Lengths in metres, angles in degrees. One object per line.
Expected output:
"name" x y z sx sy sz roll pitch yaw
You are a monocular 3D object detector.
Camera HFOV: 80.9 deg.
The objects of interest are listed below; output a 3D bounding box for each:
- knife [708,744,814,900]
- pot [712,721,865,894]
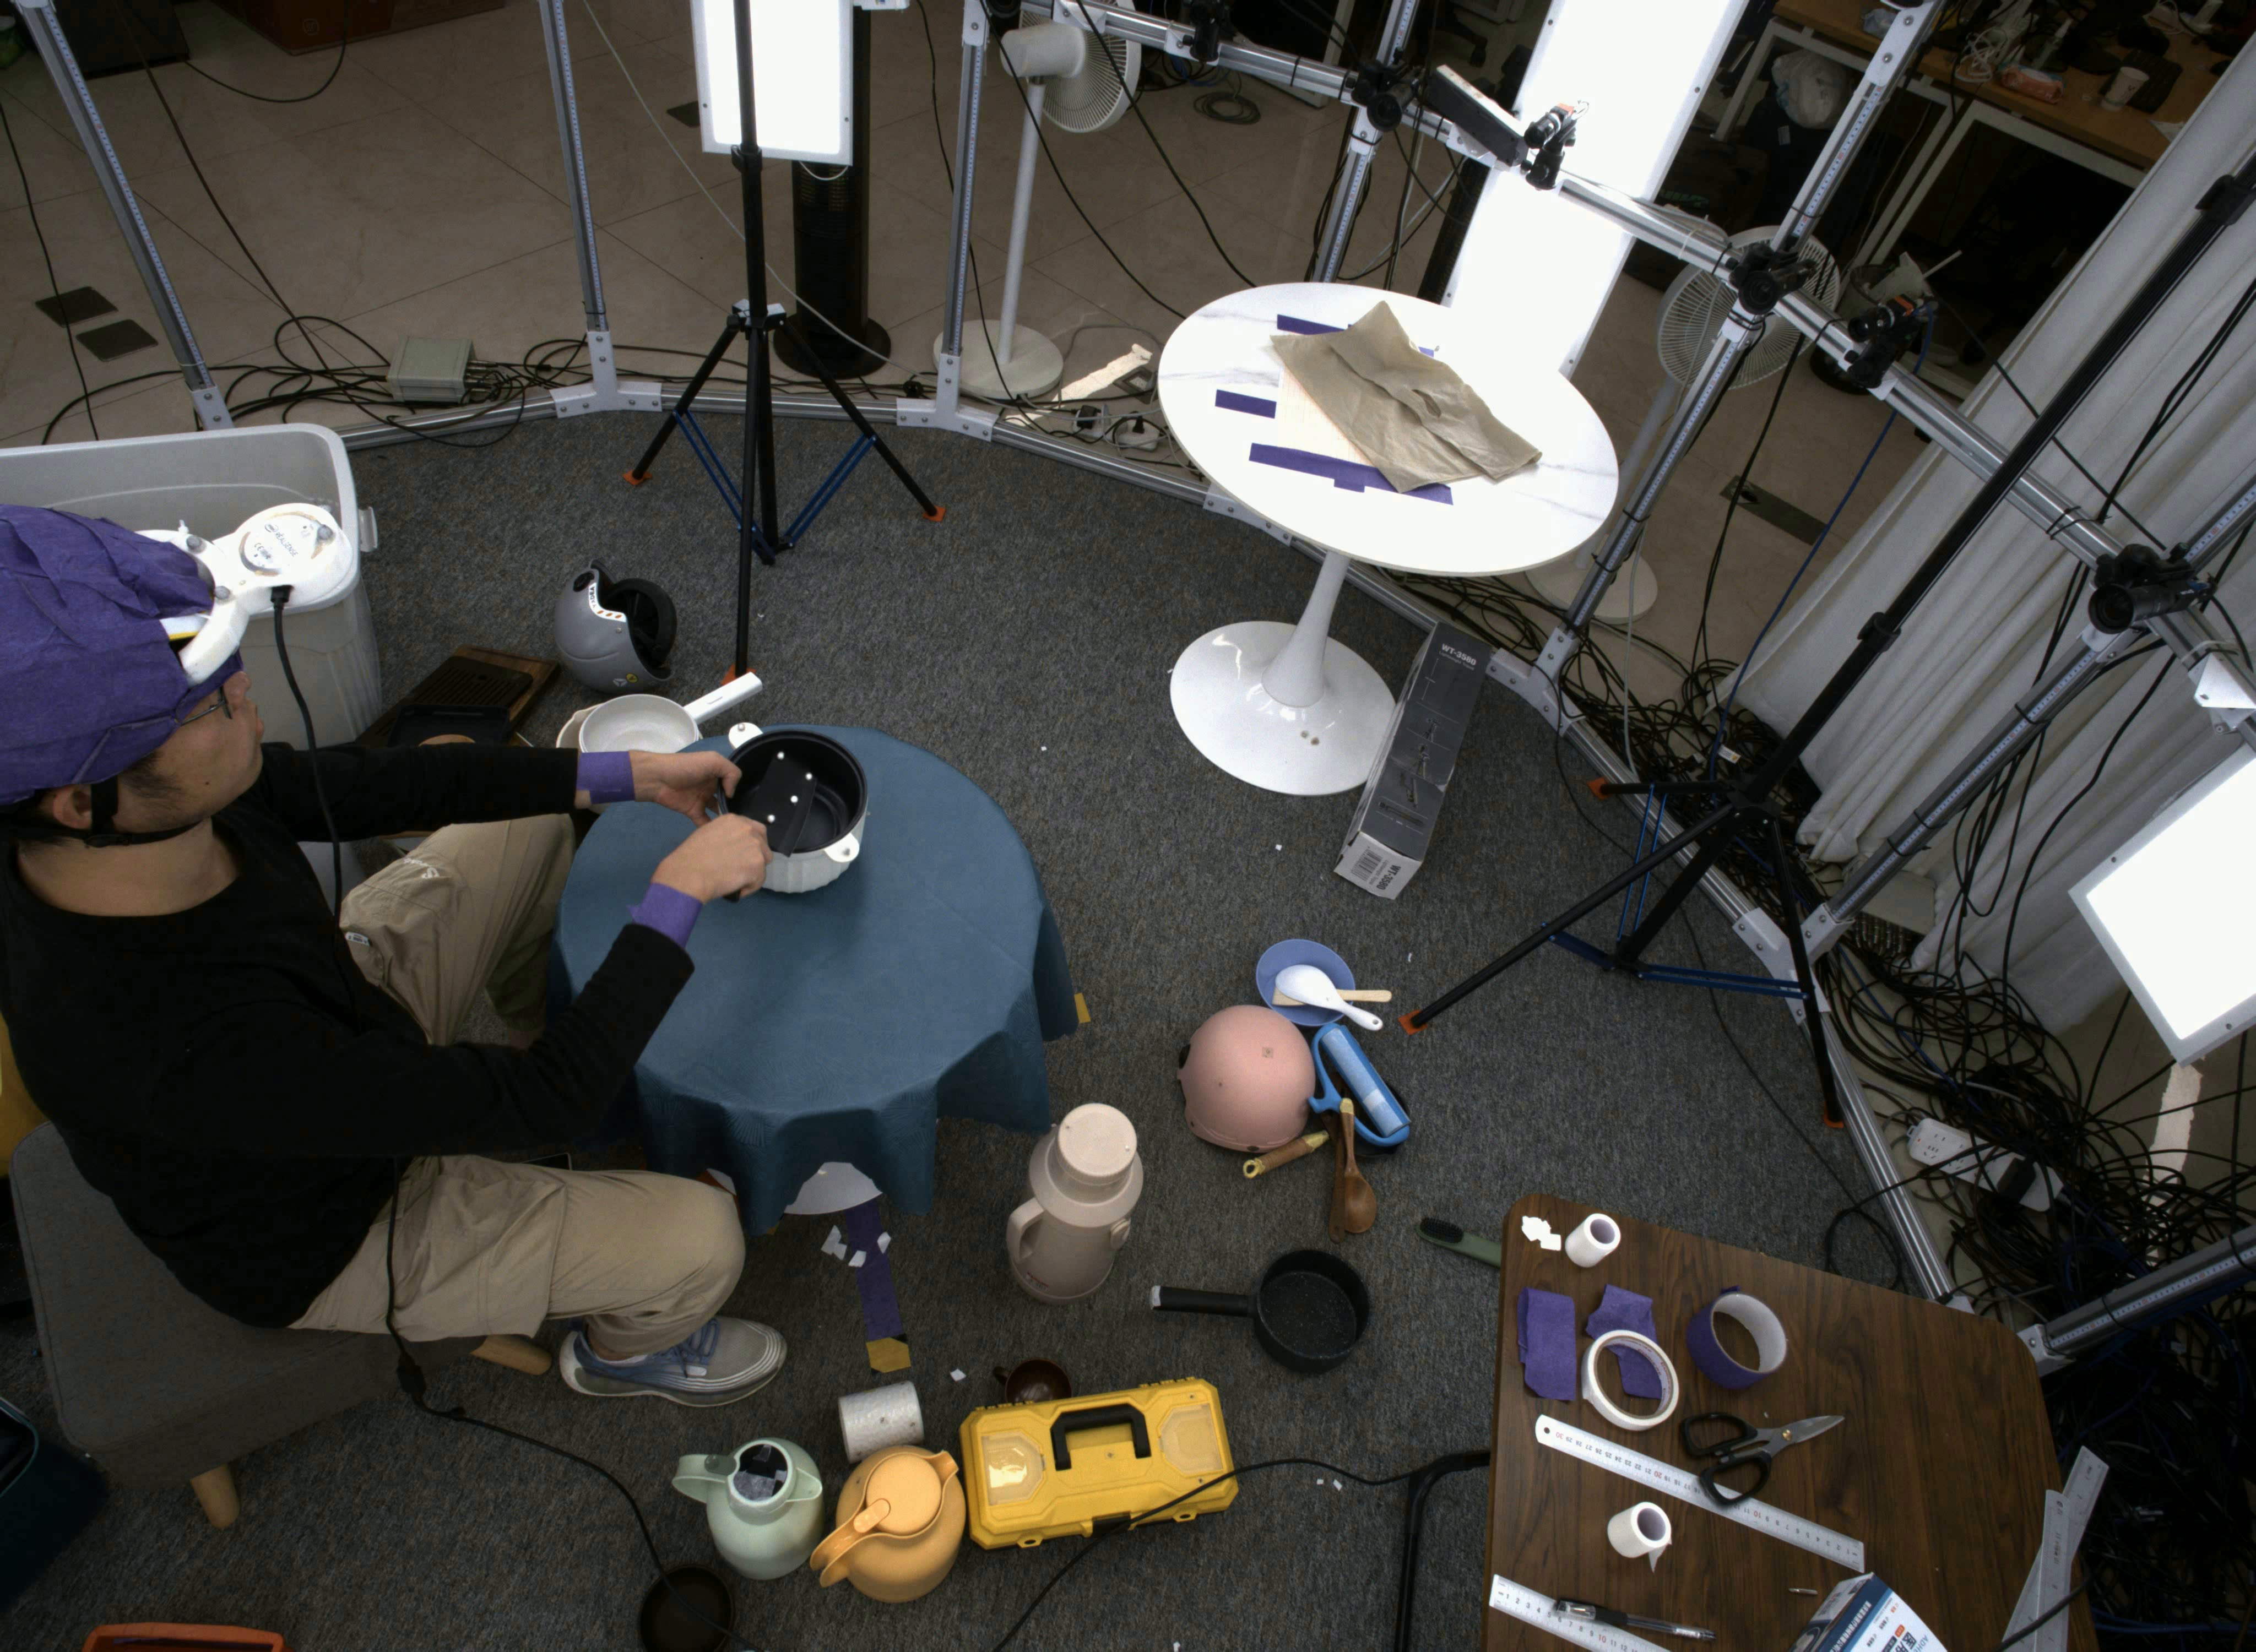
"knife" -0.408 -0.007 1.450 0.082 0.021 0.297 42 24 -17
"pot" -0.422 -0.017 1.638 0.191 0.145 0.237 -38 76 -27
